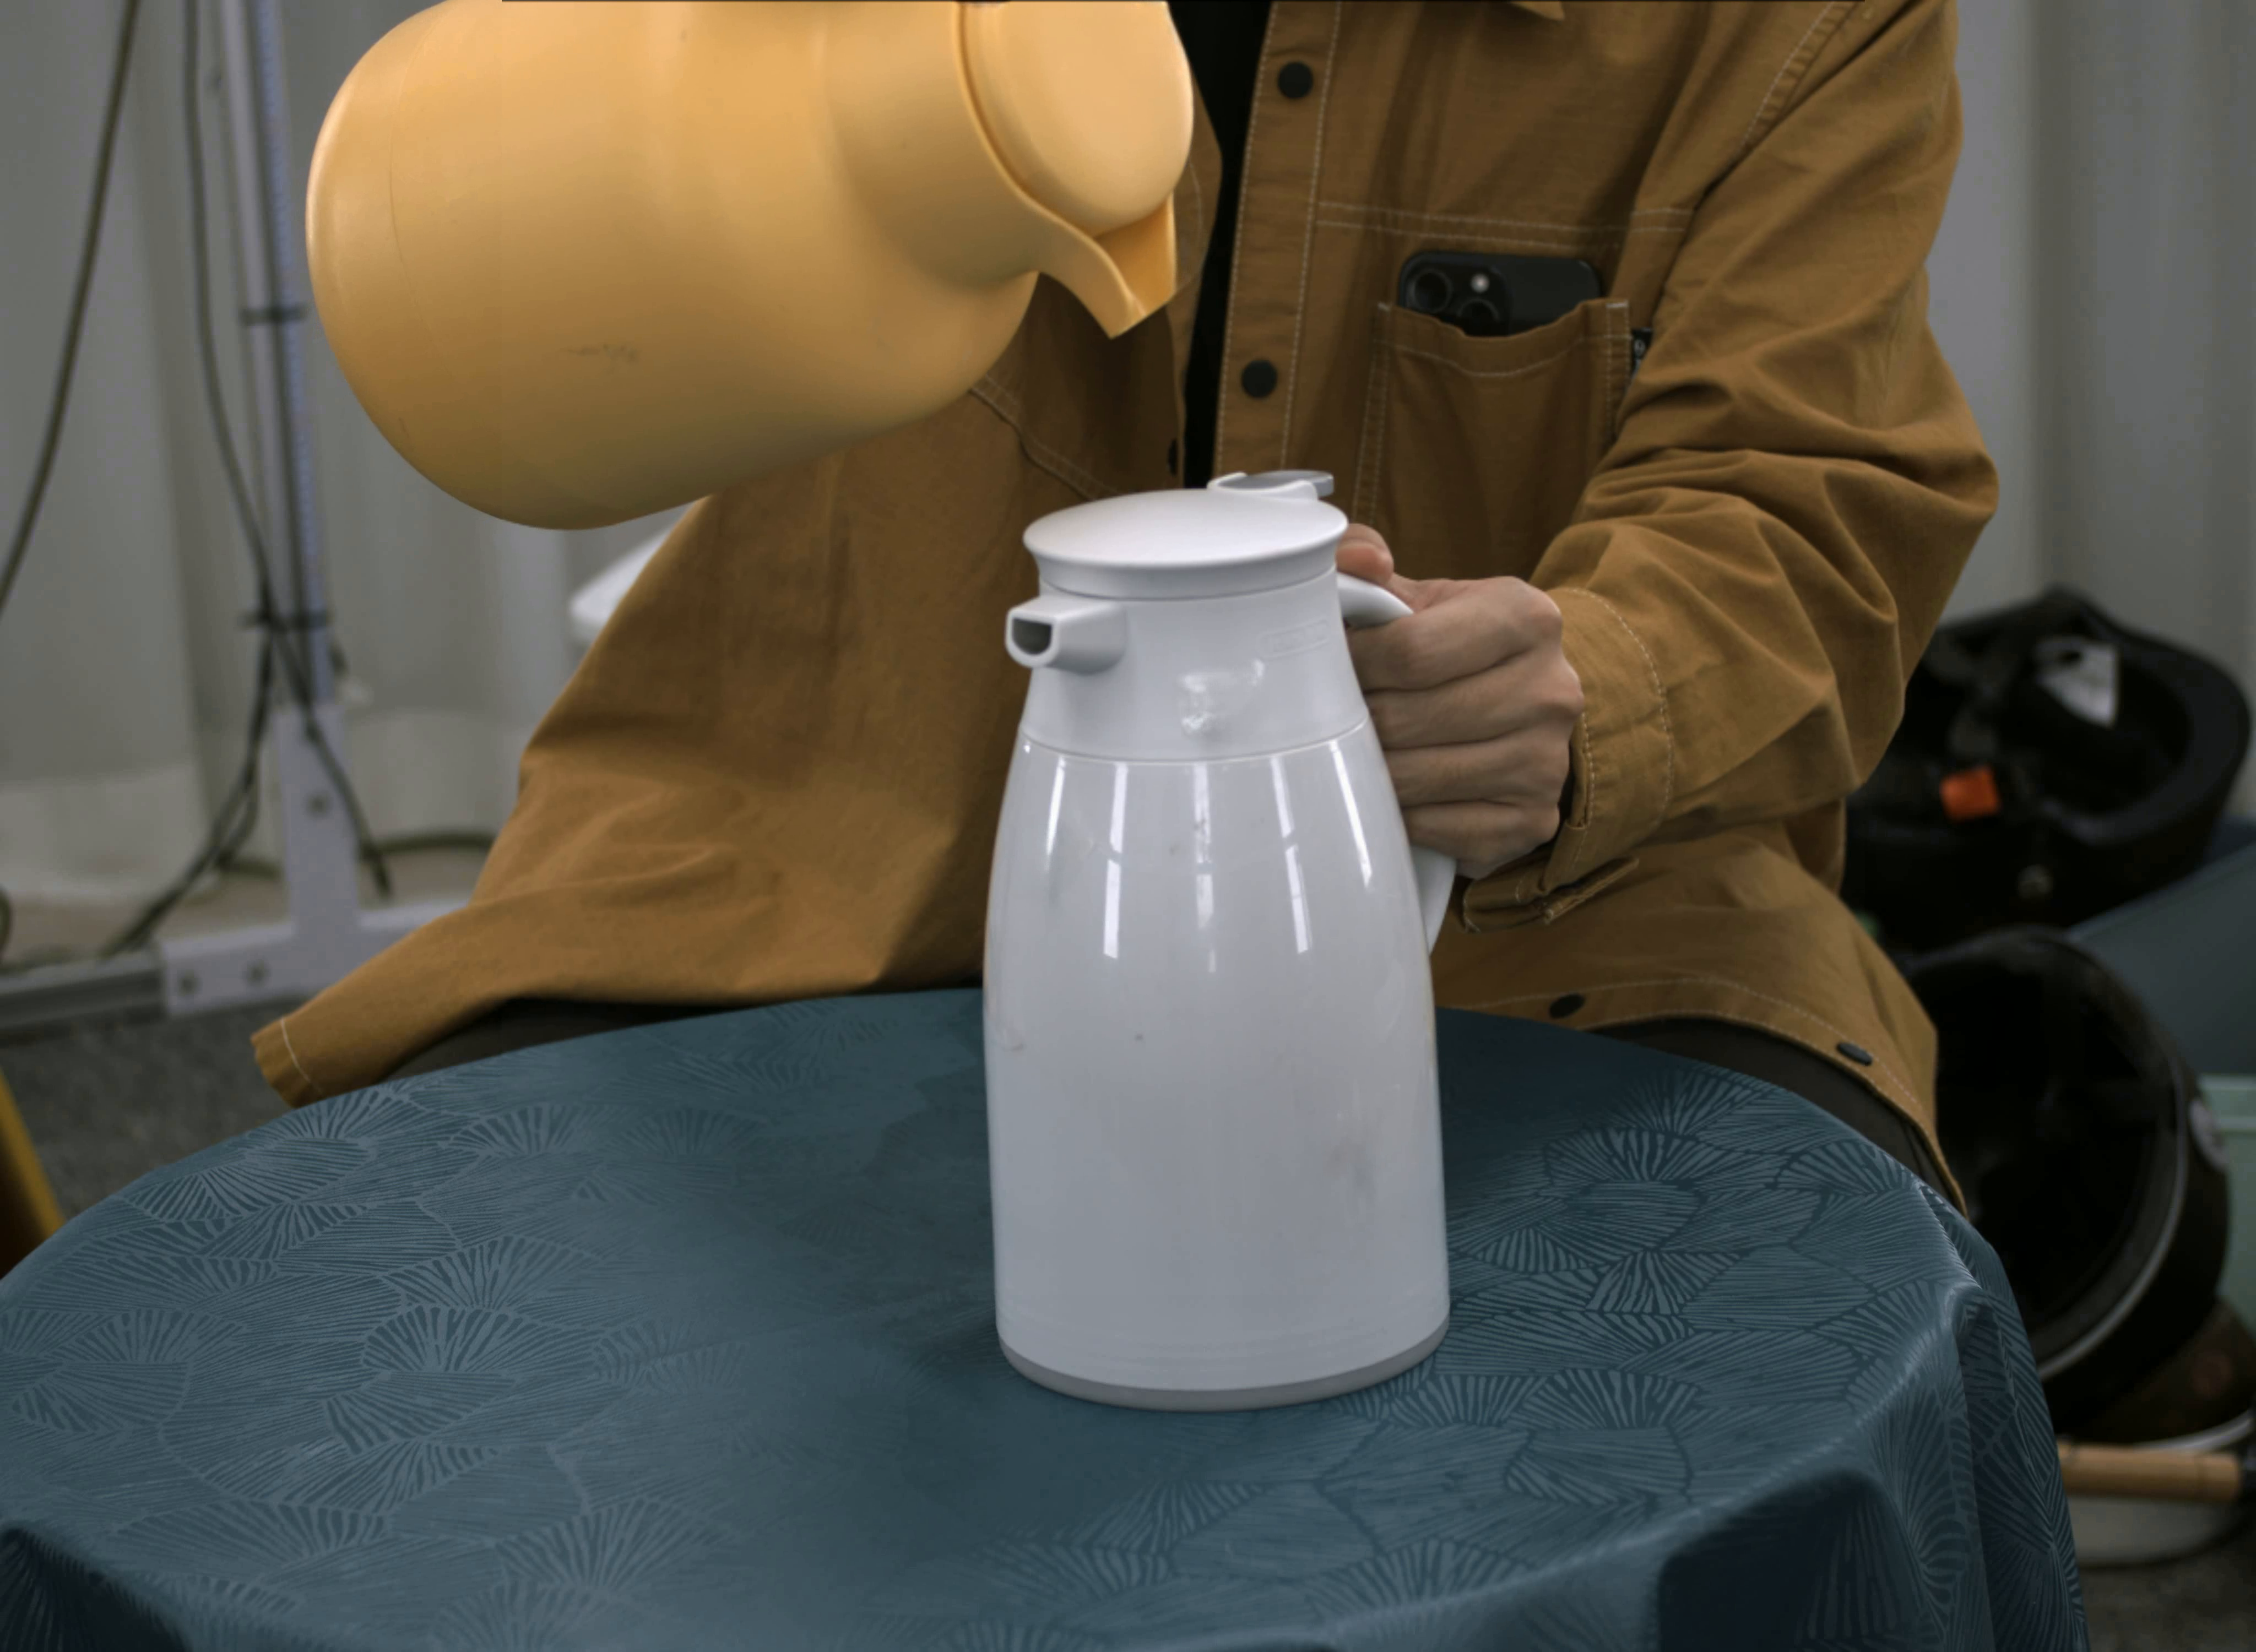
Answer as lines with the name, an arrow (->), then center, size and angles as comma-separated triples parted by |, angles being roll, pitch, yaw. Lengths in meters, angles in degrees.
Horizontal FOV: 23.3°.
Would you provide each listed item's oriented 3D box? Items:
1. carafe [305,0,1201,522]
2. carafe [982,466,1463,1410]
carafe -> -0.108, -0.206, 1.576 | 0.260, 0.202, 0.164 | -13, 11, 35
carafe -> 0.034, 0.023, 1.572 | 0.133, 0.248, 0.167 | 11, 18, 43
